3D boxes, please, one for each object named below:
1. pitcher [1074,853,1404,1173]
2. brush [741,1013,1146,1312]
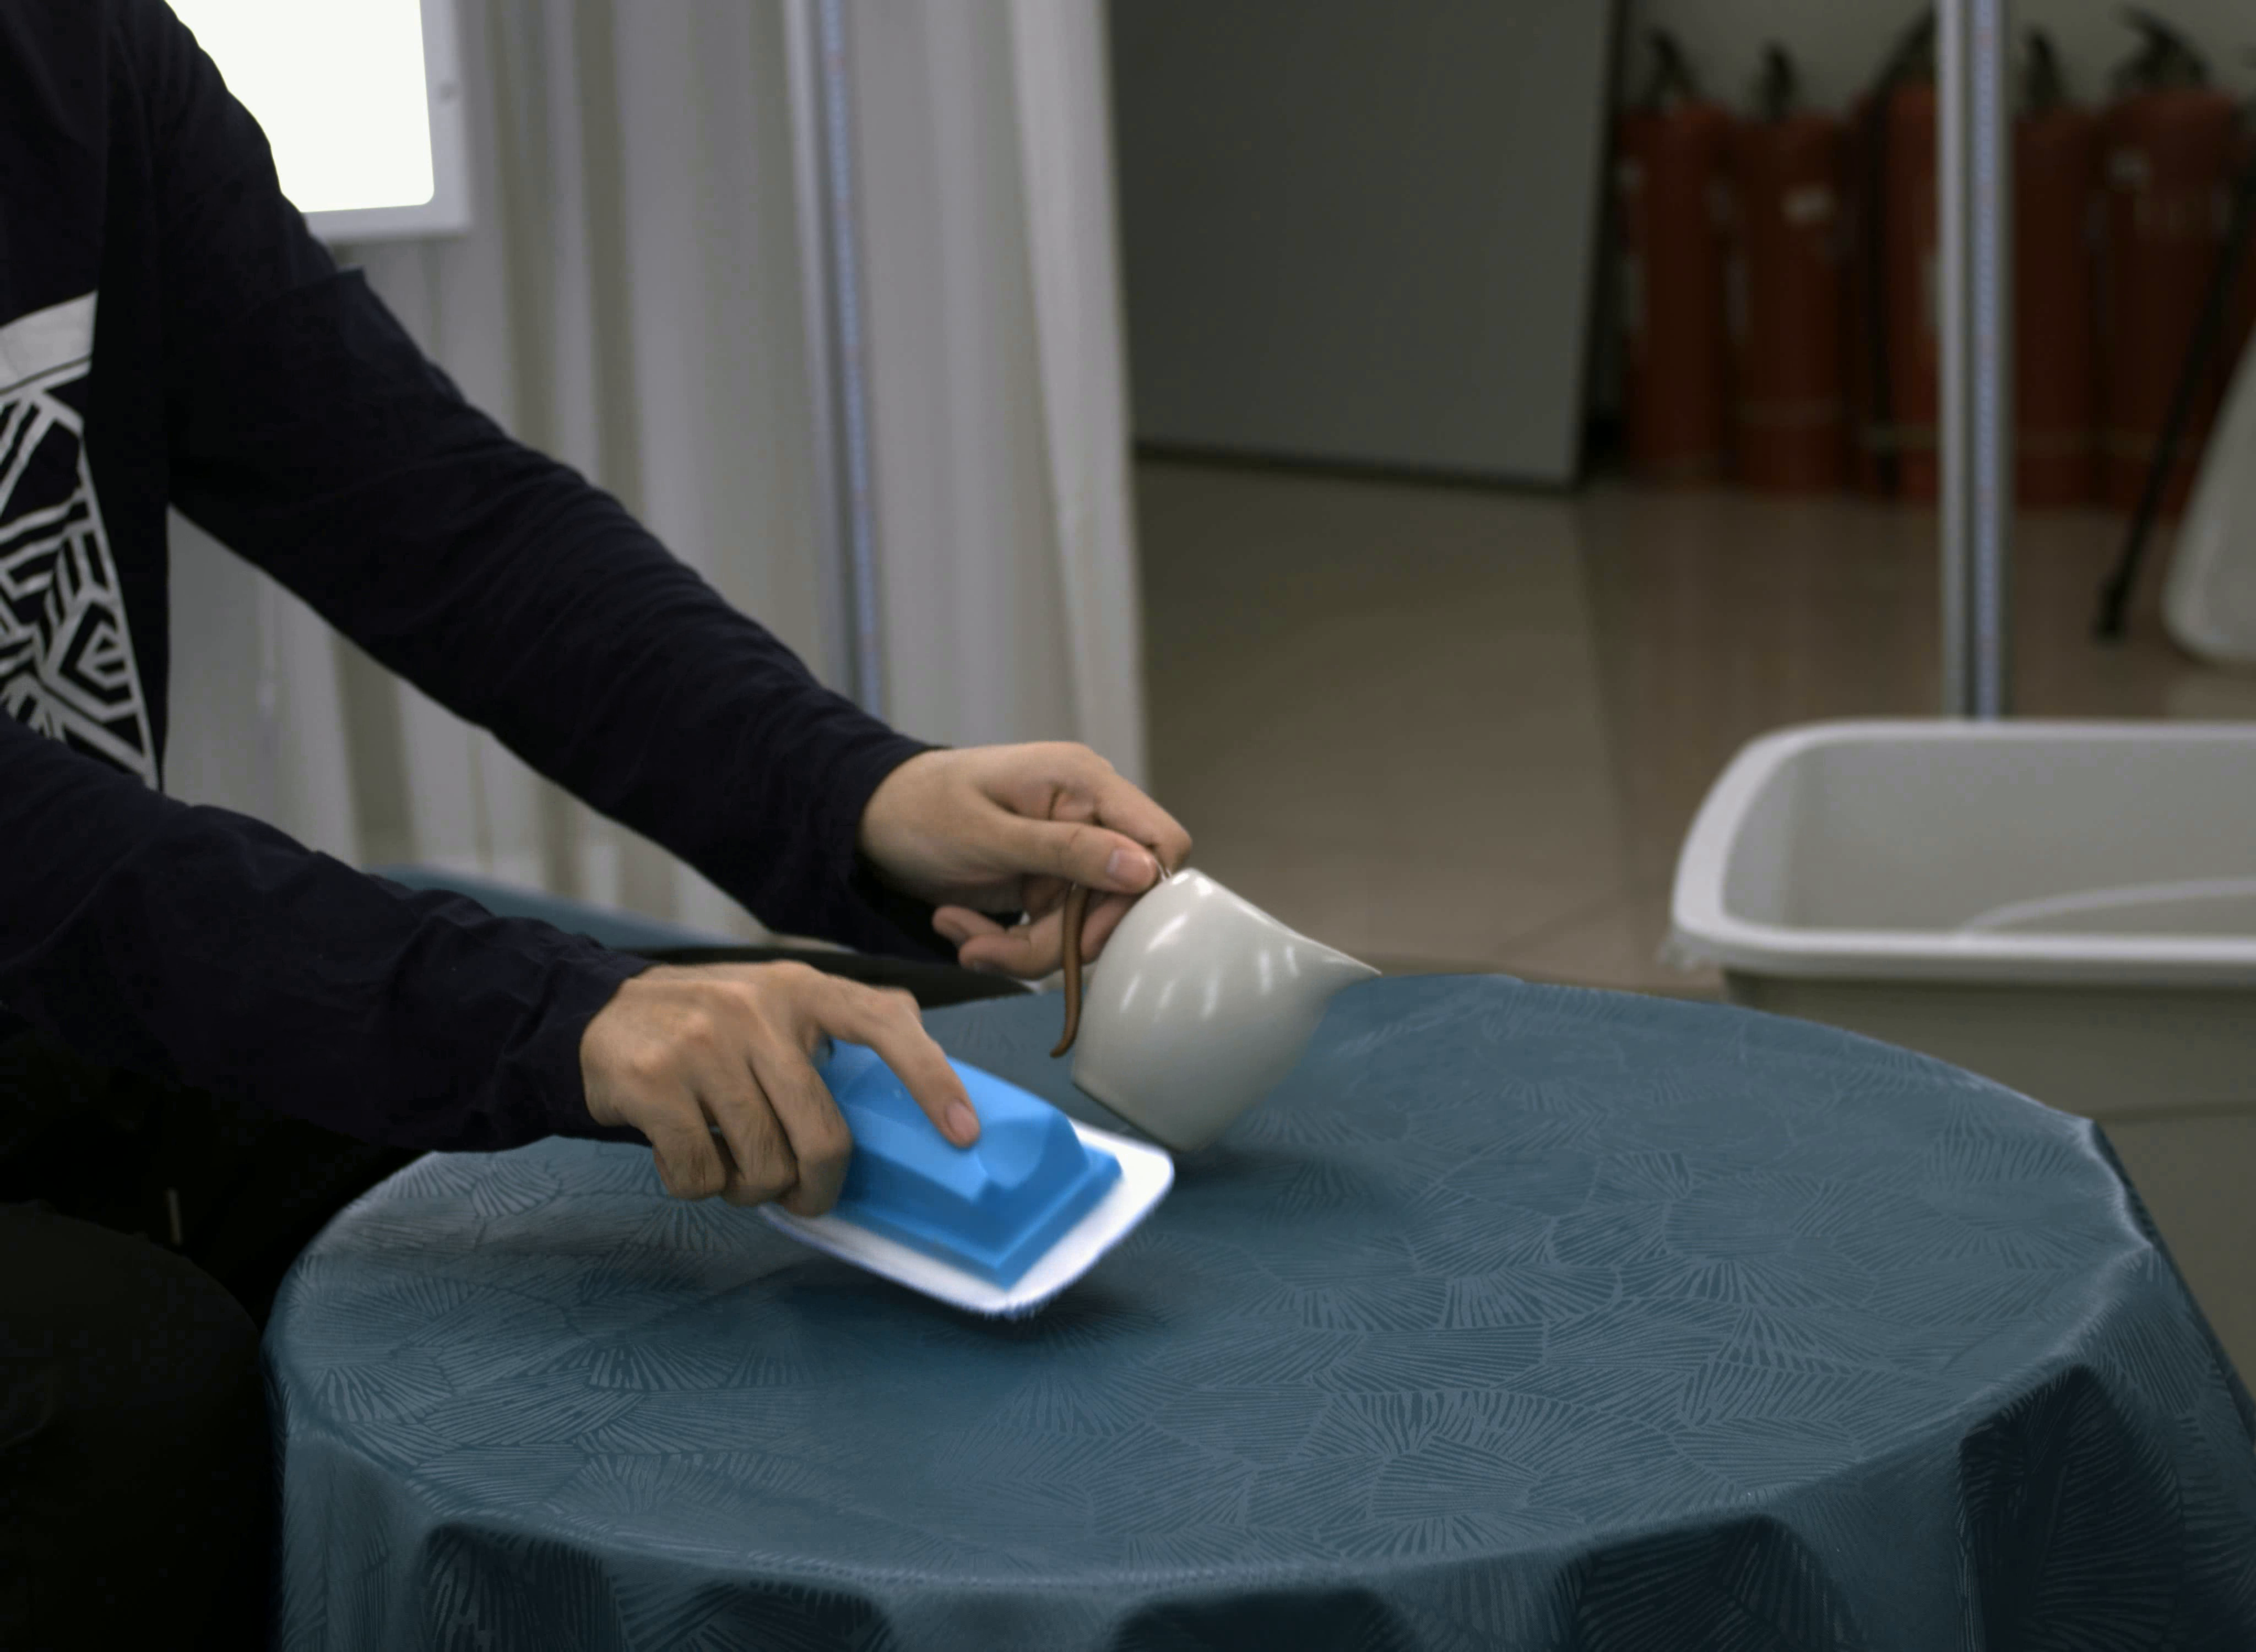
[{"bbox_3d":[0.025,0.063,1.791,0.120,0.088,0.075,39,1,37],"label":"pitcher"},{"bbox_3d":[-0.062,0.101,1.688,0.083,0.056,0.145,-38,33,-22],"label":"brush"}]
